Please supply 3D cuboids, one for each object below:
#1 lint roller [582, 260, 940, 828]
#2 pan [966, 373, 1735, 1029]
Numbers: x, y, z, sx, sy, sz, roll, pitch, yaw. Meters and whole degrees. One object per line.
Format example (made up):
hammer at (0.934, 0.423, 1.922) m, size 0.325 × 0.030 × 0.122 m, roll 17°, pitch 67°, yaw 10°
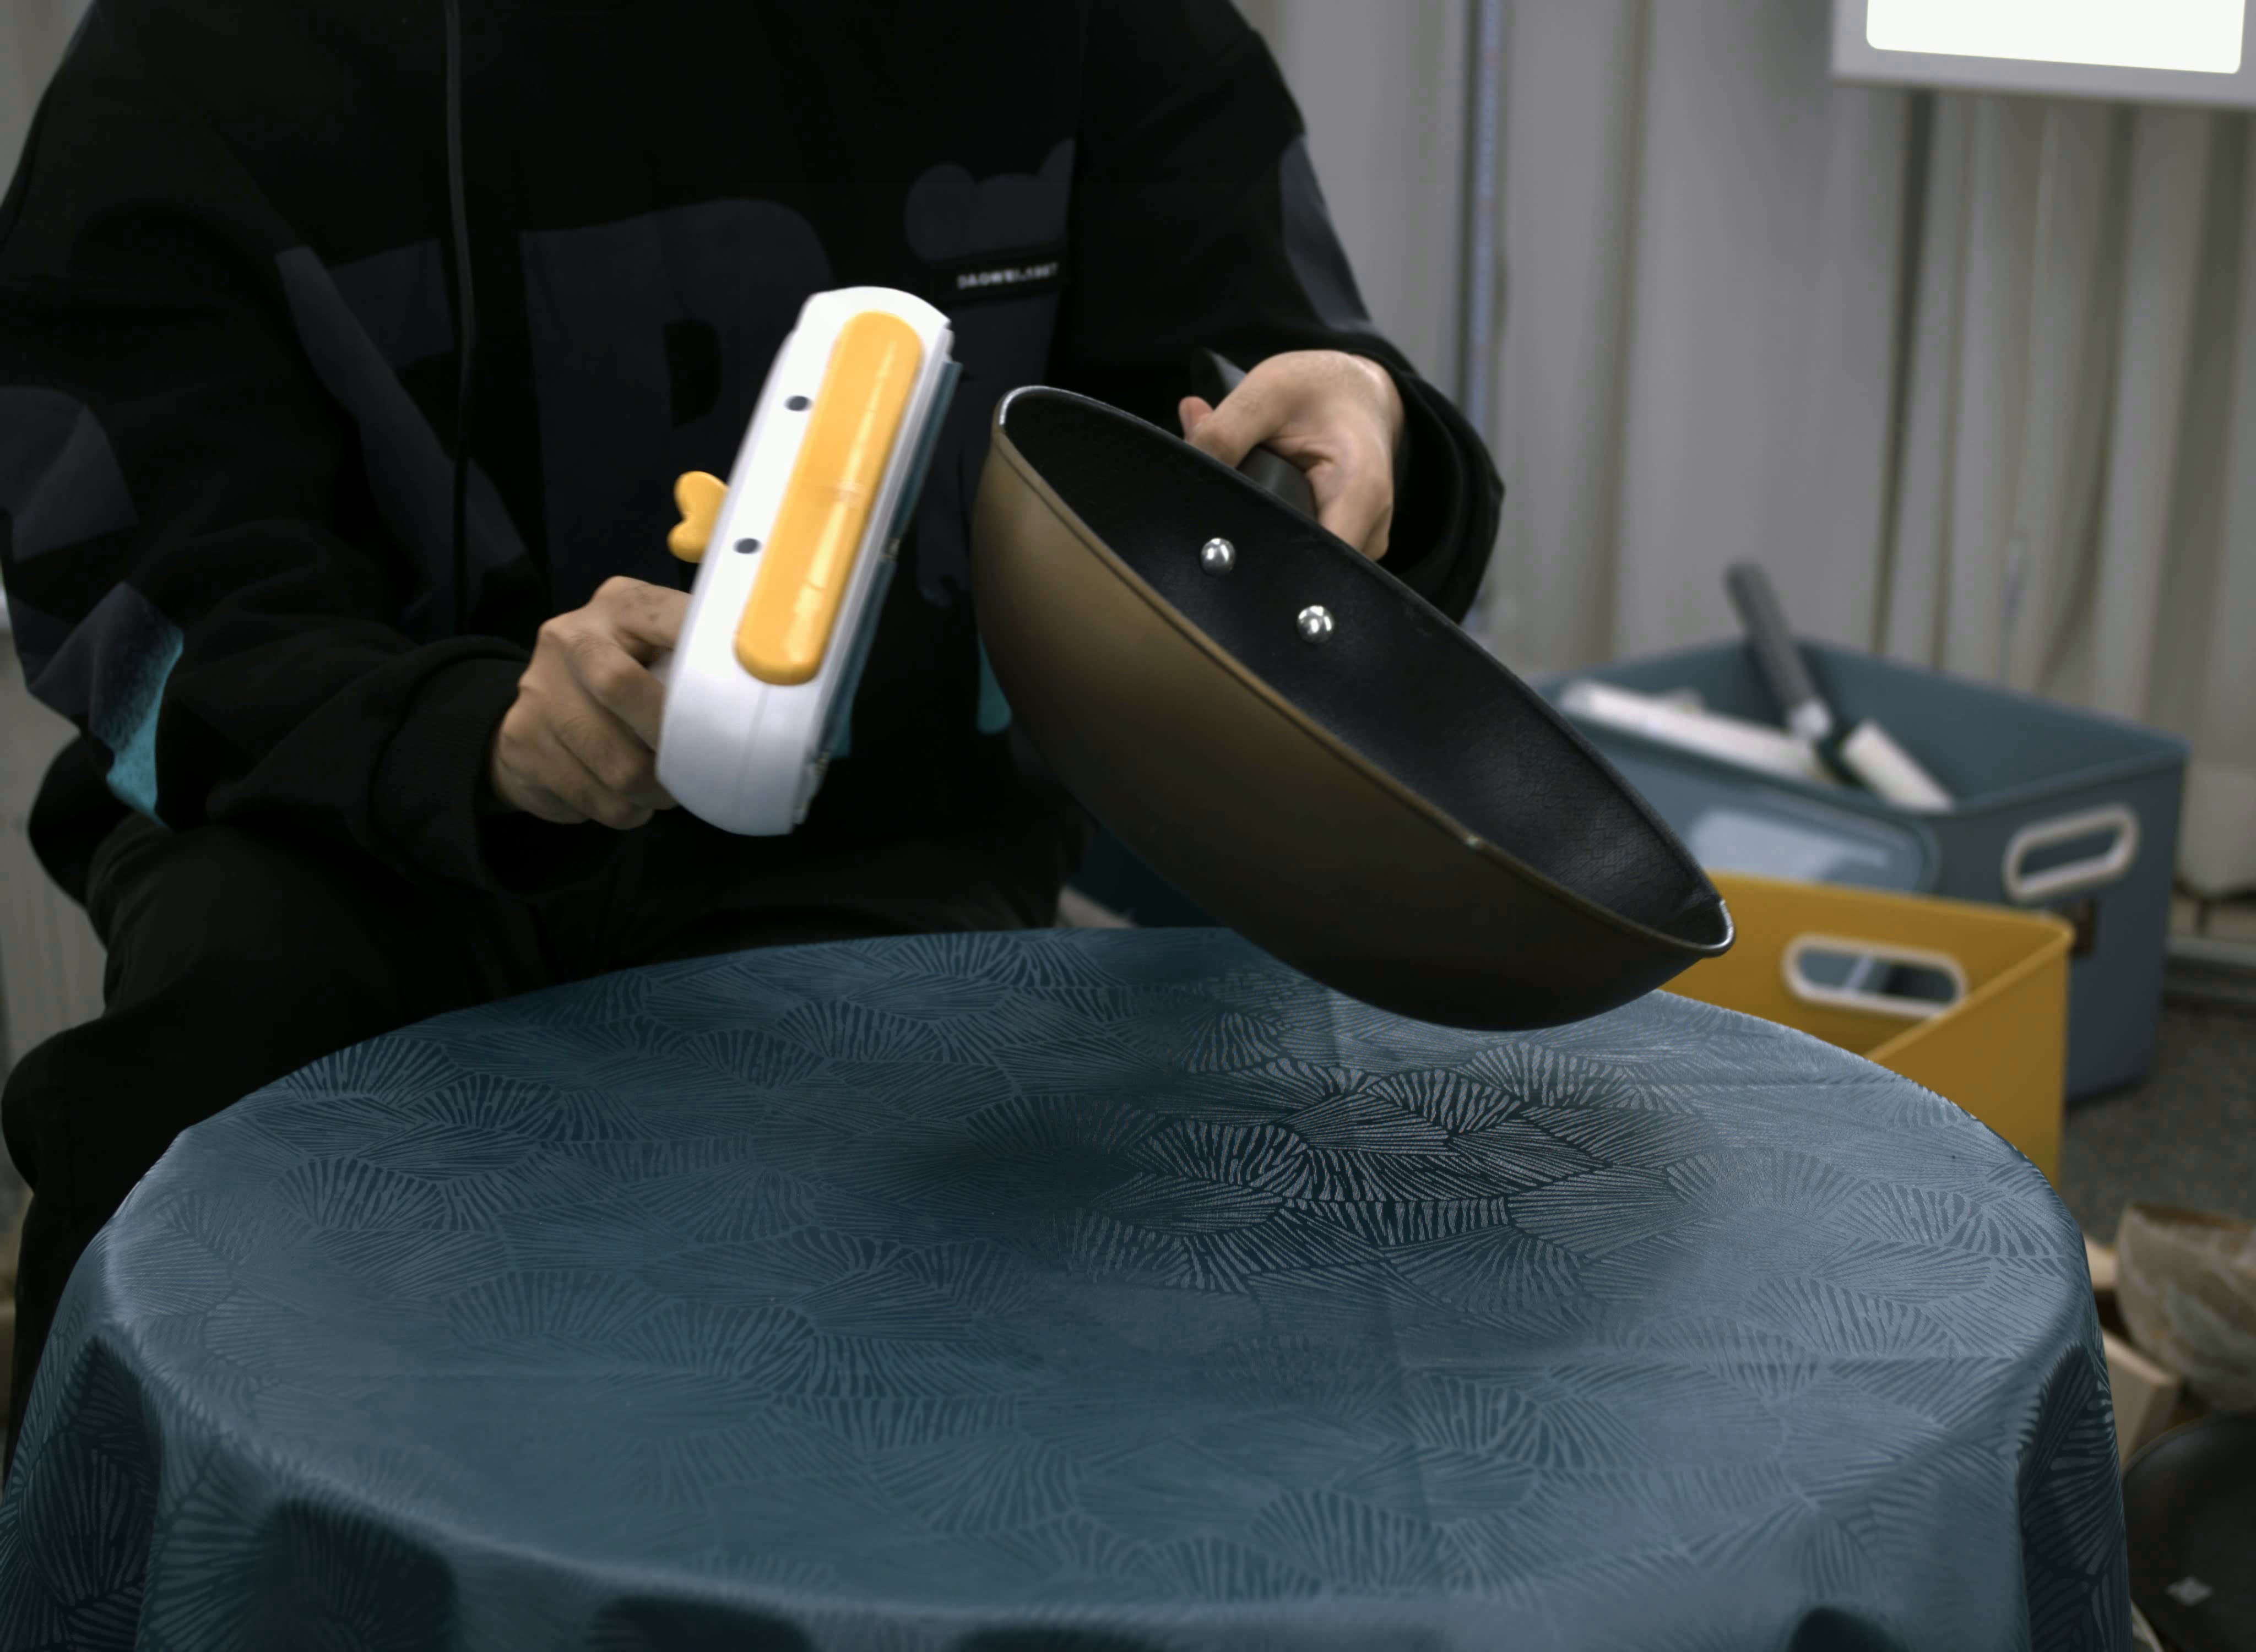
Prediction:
lint roller at (-0.124, -0.061, 1.660) m, size 0.074 × 0.193 × 0.191 m, roll 16°, pitch 52°, yaw -9°
pan at (0.042, -0.056, 1.716) m, size 0.290 × 0.087 × 0.459 m, roll 33°, pitch 13°, yaw -18°
